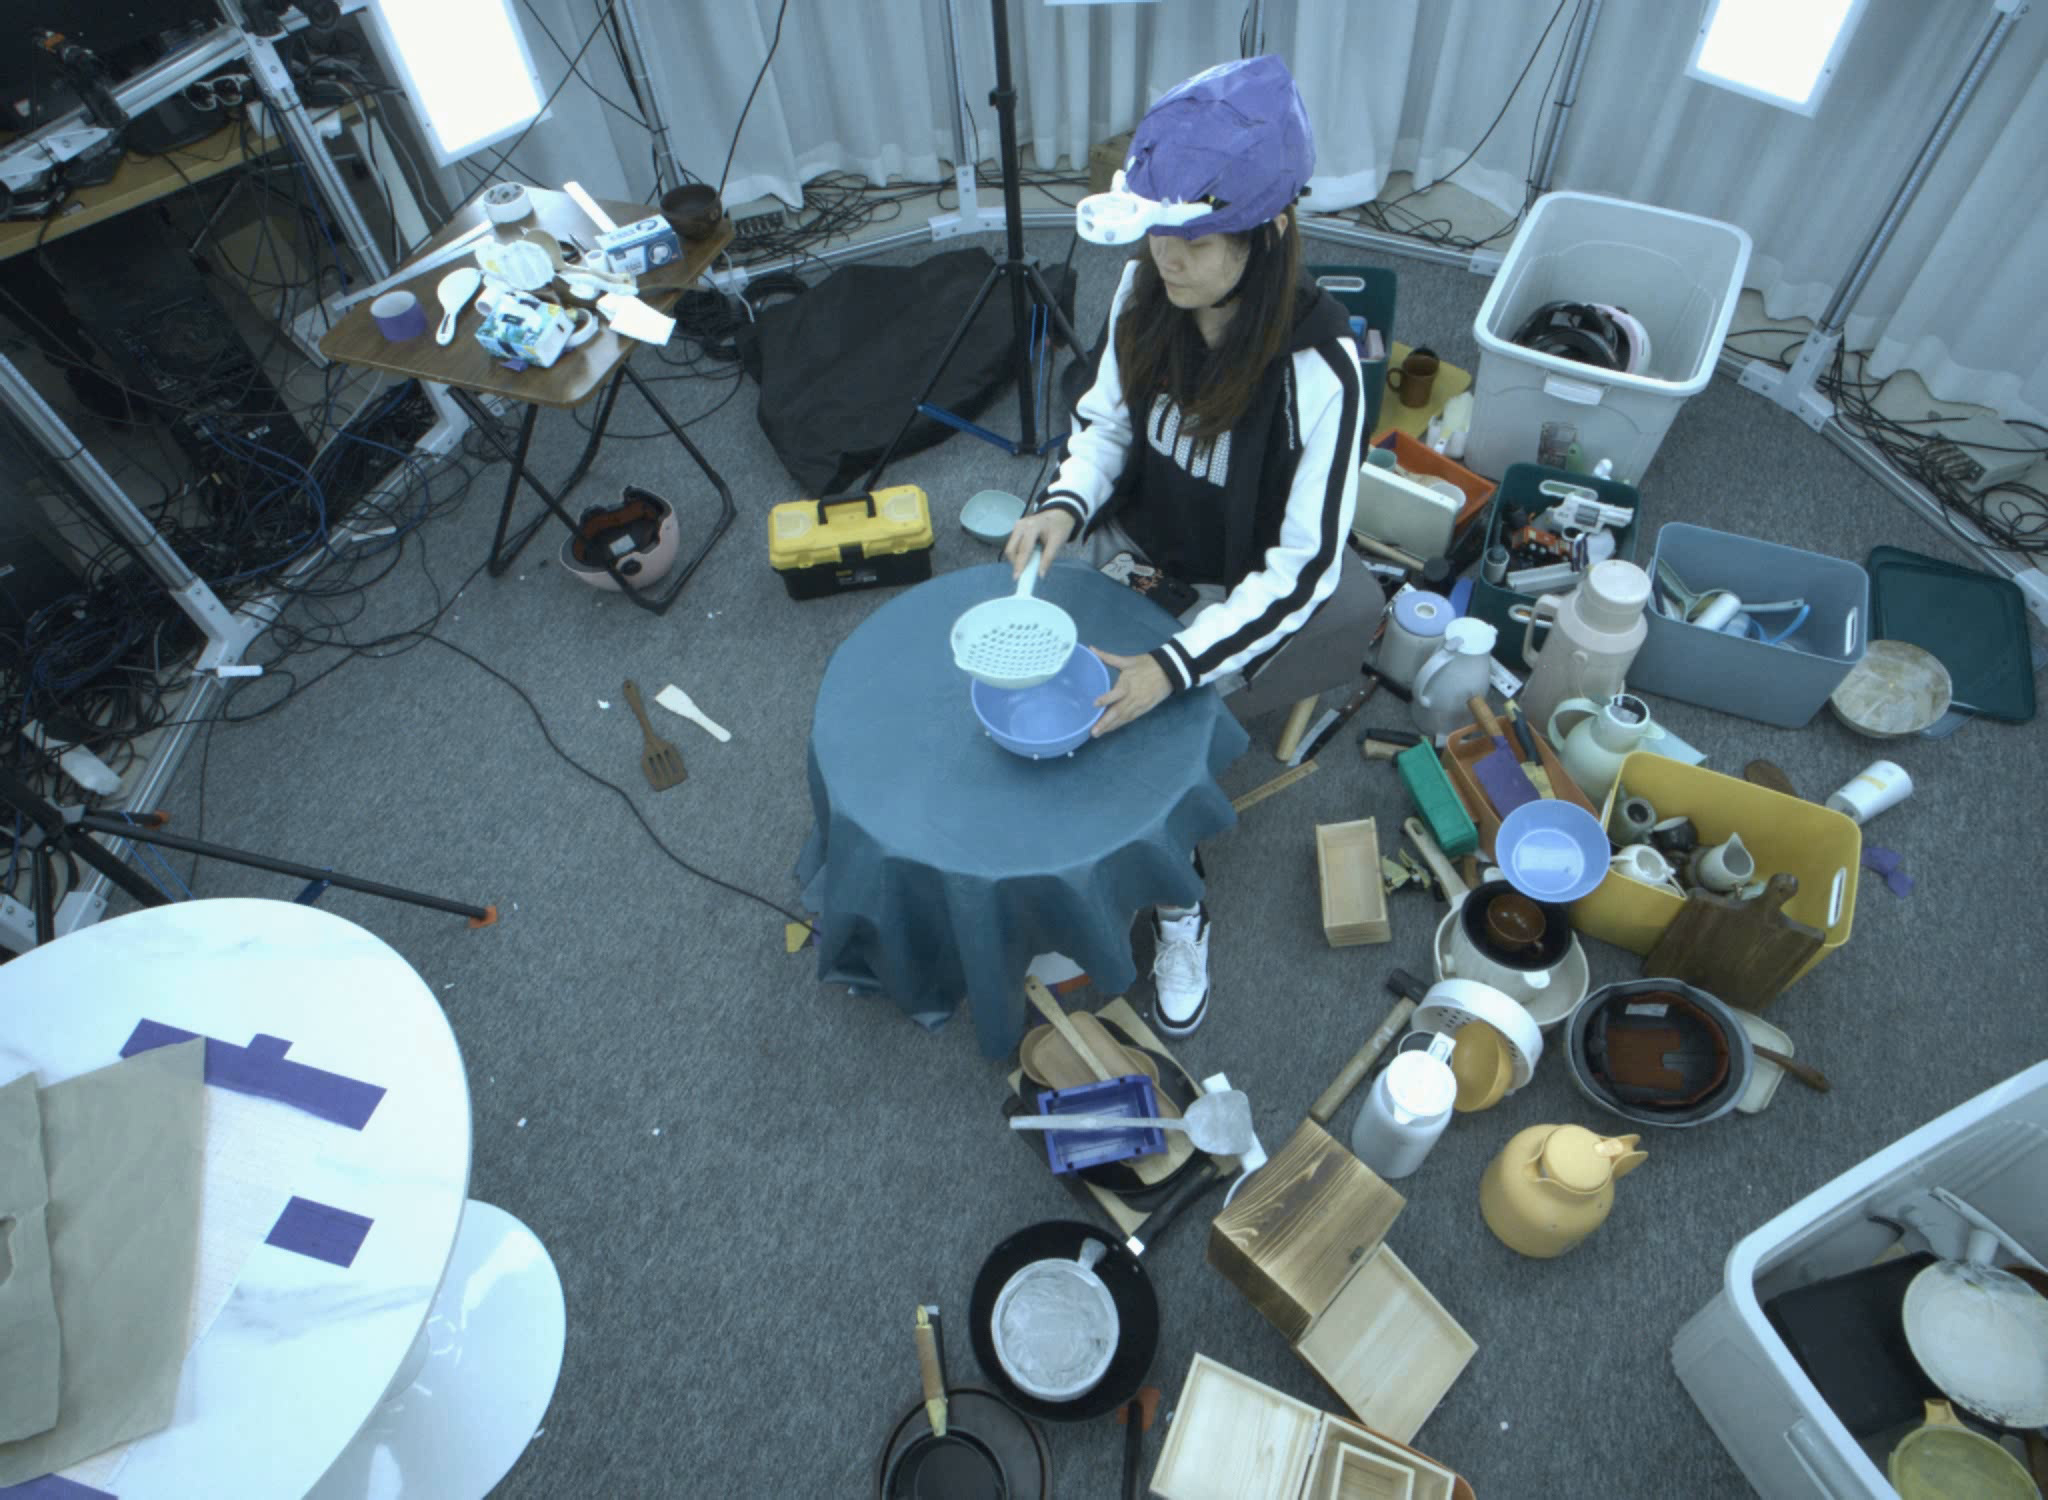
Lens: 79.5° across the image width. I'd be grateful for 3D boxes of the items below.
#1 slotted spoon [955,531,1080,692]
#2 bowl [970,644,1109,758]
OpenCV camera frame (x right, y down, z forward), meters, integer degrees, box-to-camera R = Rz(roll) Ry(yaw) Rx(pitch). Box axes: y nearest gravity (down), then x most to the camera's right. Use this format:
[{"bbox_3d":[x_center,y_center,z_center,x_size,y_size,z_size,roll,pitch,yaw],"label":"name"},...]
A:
[{"bbox_3d":[0.005,-0.210,1.725,0.168,0.076,0.356,3,54,7],"label":"slotted spoon"},{"bbox_3d":[0.025,-0.061,1.772,0.196,0.096,0.194,-1,55,2],"label":"bowl"}]
